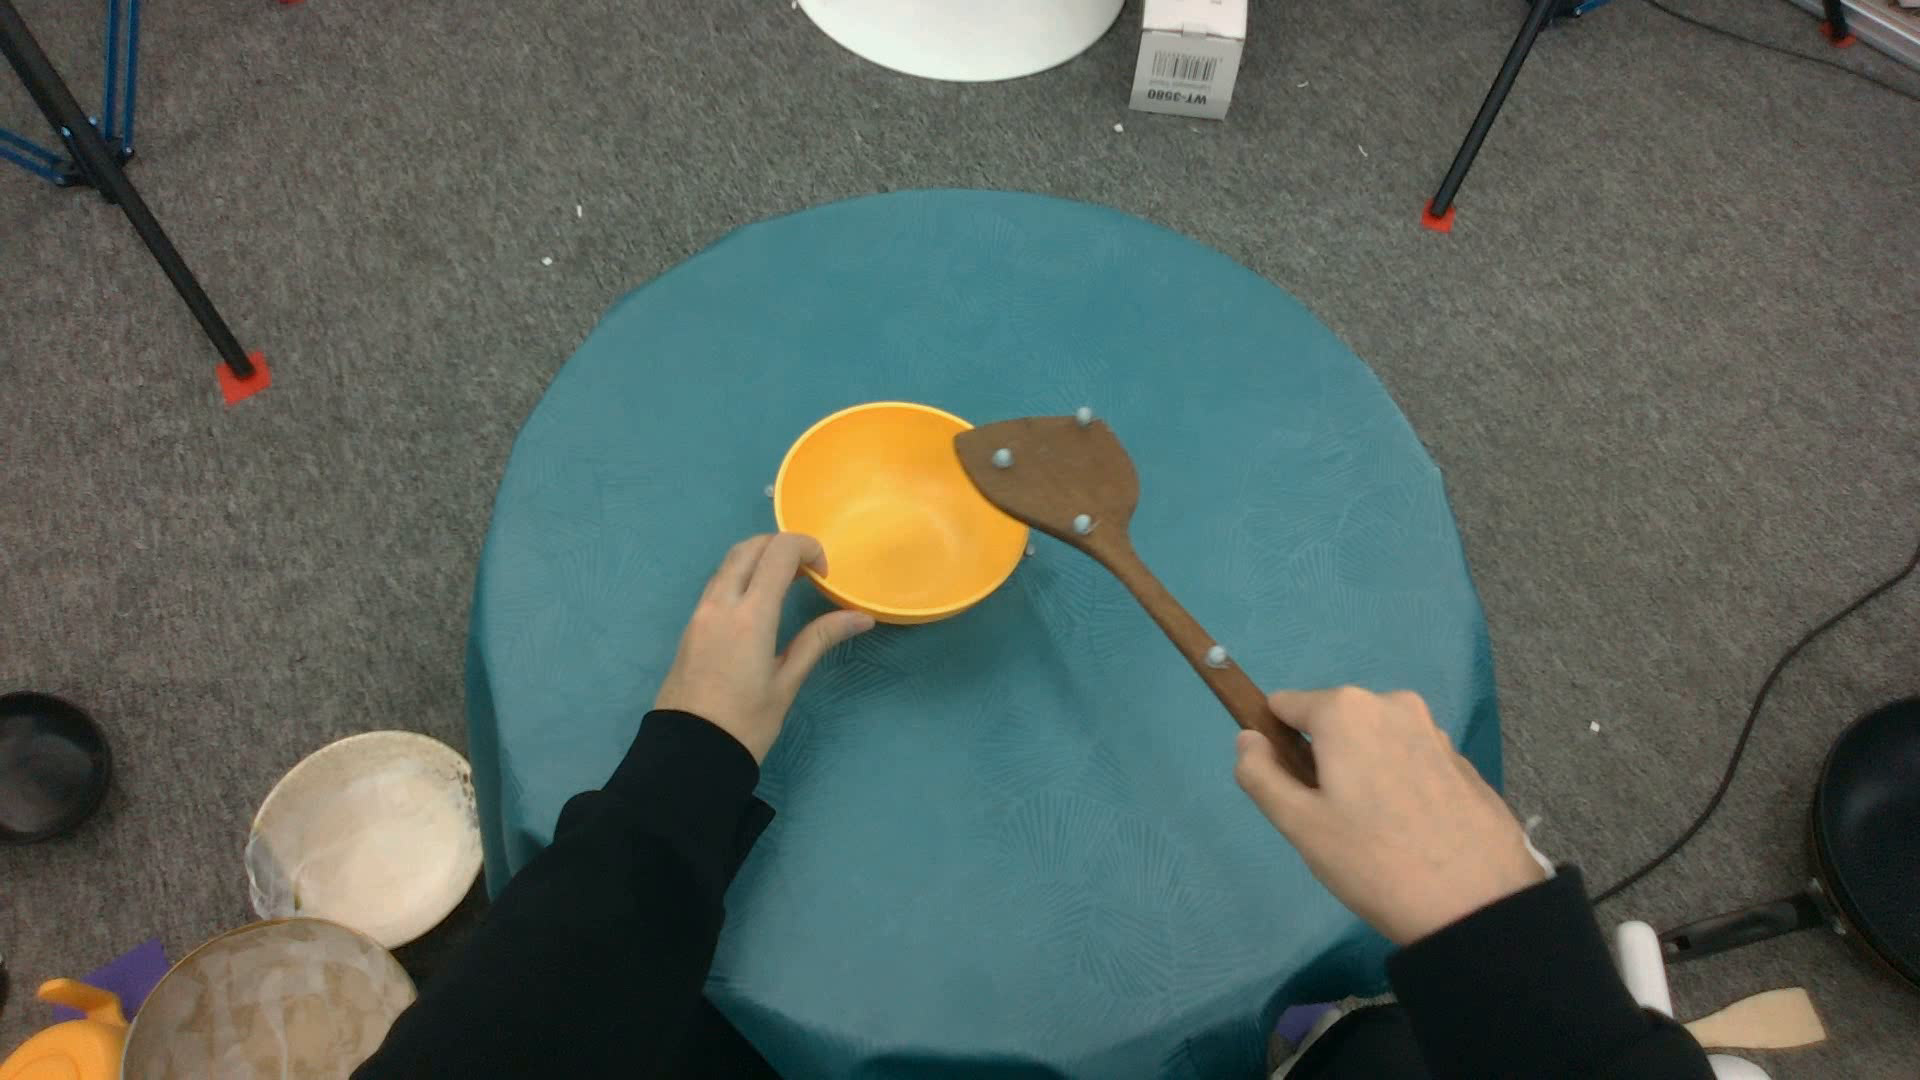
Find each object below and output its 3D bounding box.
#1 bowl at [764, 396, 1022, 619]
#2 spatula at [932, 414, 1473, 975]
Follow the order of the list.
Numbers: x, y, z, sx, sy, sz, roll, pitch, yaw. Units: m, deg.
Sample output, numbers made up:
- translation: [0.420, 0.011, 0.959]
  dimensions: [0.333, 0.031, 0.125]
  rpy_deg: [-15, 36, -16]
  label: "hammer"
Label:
- translation: [-0.040, -0.009, 0.795]
  dimensions: [0.145, 0.060, 0.146]
  rpy_deg: [4, 58, -7]
  label: "bowl"
- translation: [0.098, 0.042, 0.621]
  dimensions: [0.096, 0.016, 0.387]
  rpy_deg: [-9, 37, -23]
  label: "spatula"
